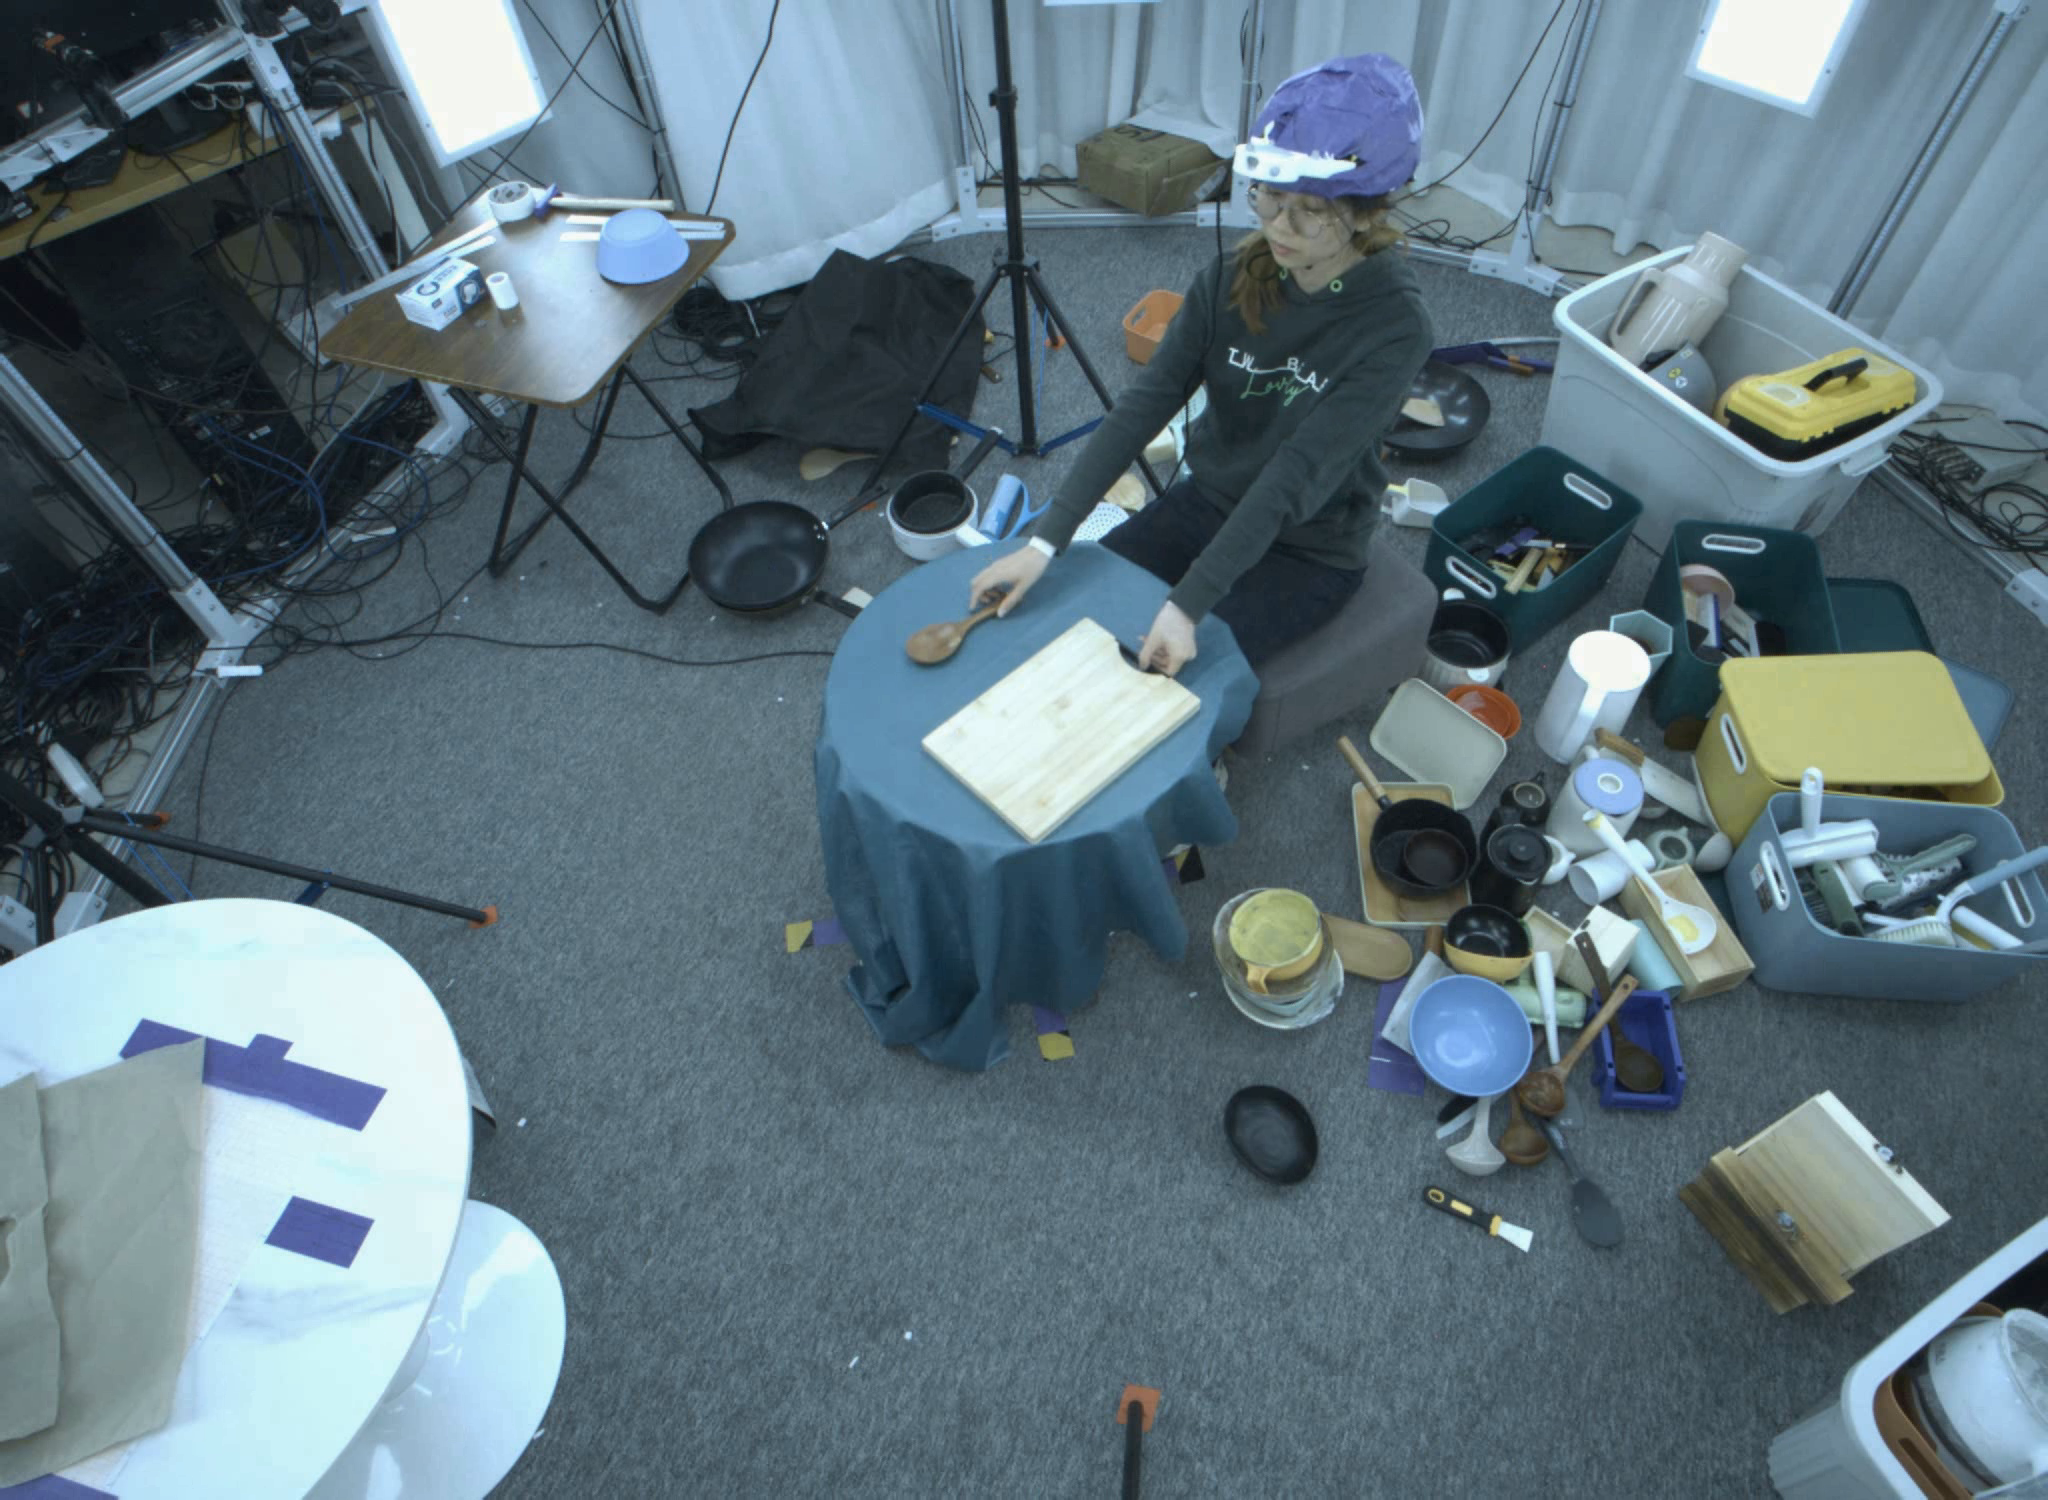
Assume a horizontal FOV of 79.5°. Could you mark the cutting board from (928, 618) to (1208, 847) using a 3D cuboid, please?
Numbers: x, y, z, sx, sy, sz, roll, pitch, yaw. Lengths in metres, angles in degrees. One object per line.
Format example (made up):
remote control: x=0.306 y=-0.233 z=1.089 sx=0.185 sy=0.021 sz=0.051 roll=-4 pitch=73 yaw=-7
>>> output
cutting board: x=0.064 y=-0.036 z=1.812 sx=0.351 sy=0.024 sz=0.246 roll=-39 pitch=63 yaw=-23

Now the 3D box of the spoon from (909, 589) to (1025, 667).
spoon: x=-0.087 y=-0.192 z=1.924 sx=0.217 sy=0.017 sz=0.074 roll=-34 pitch=59 yaw=-20
